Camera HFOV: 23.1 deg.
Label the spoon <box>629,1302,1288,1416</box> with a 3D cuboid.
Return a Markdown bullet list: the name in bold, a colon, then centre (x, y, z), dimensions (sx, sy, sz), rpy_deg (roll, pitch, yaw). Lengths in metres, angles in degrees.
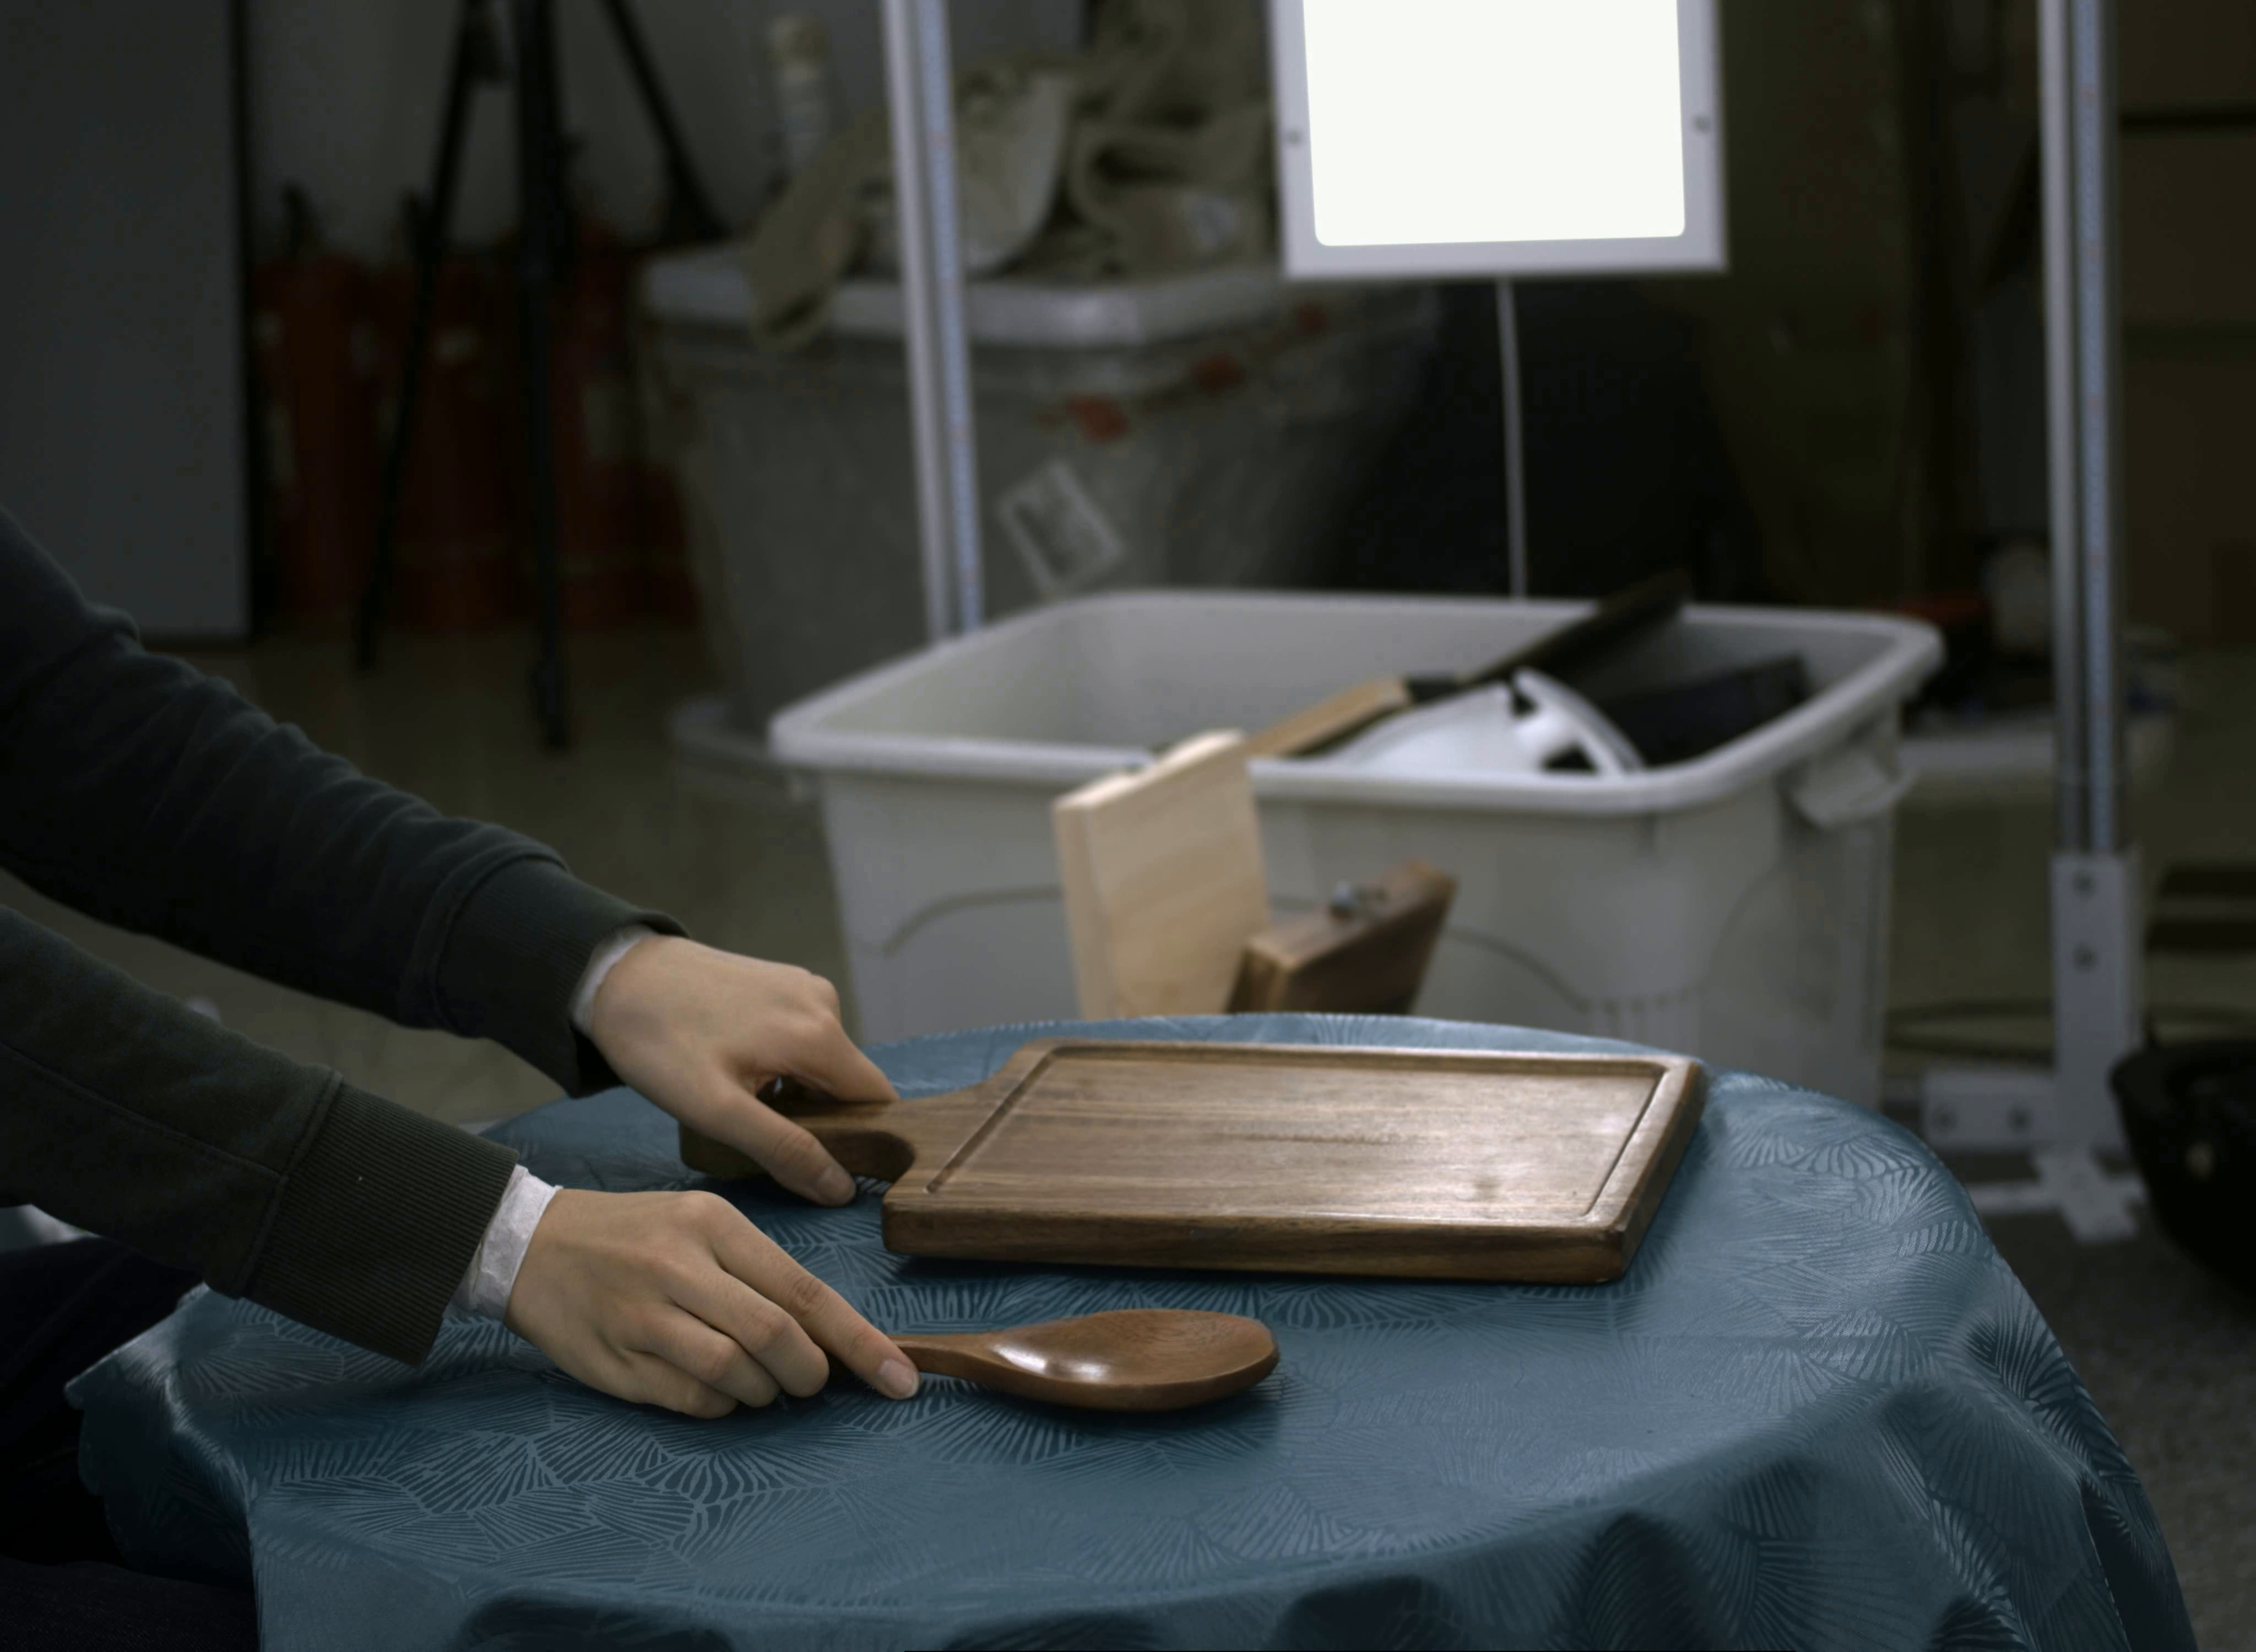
- **spoon**: centre (-0.054, 0.165, 1.719), dimensions (0.218, 0.017, 0.074), rpy_deg (2, 17, 20)

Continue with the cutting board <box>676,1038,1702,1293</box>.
- **cutting board**: centre (0.013, 0.112, 1.893), dimensions (0.356, 0.023, 0.198), rpy_deg (1, 16, 16)
